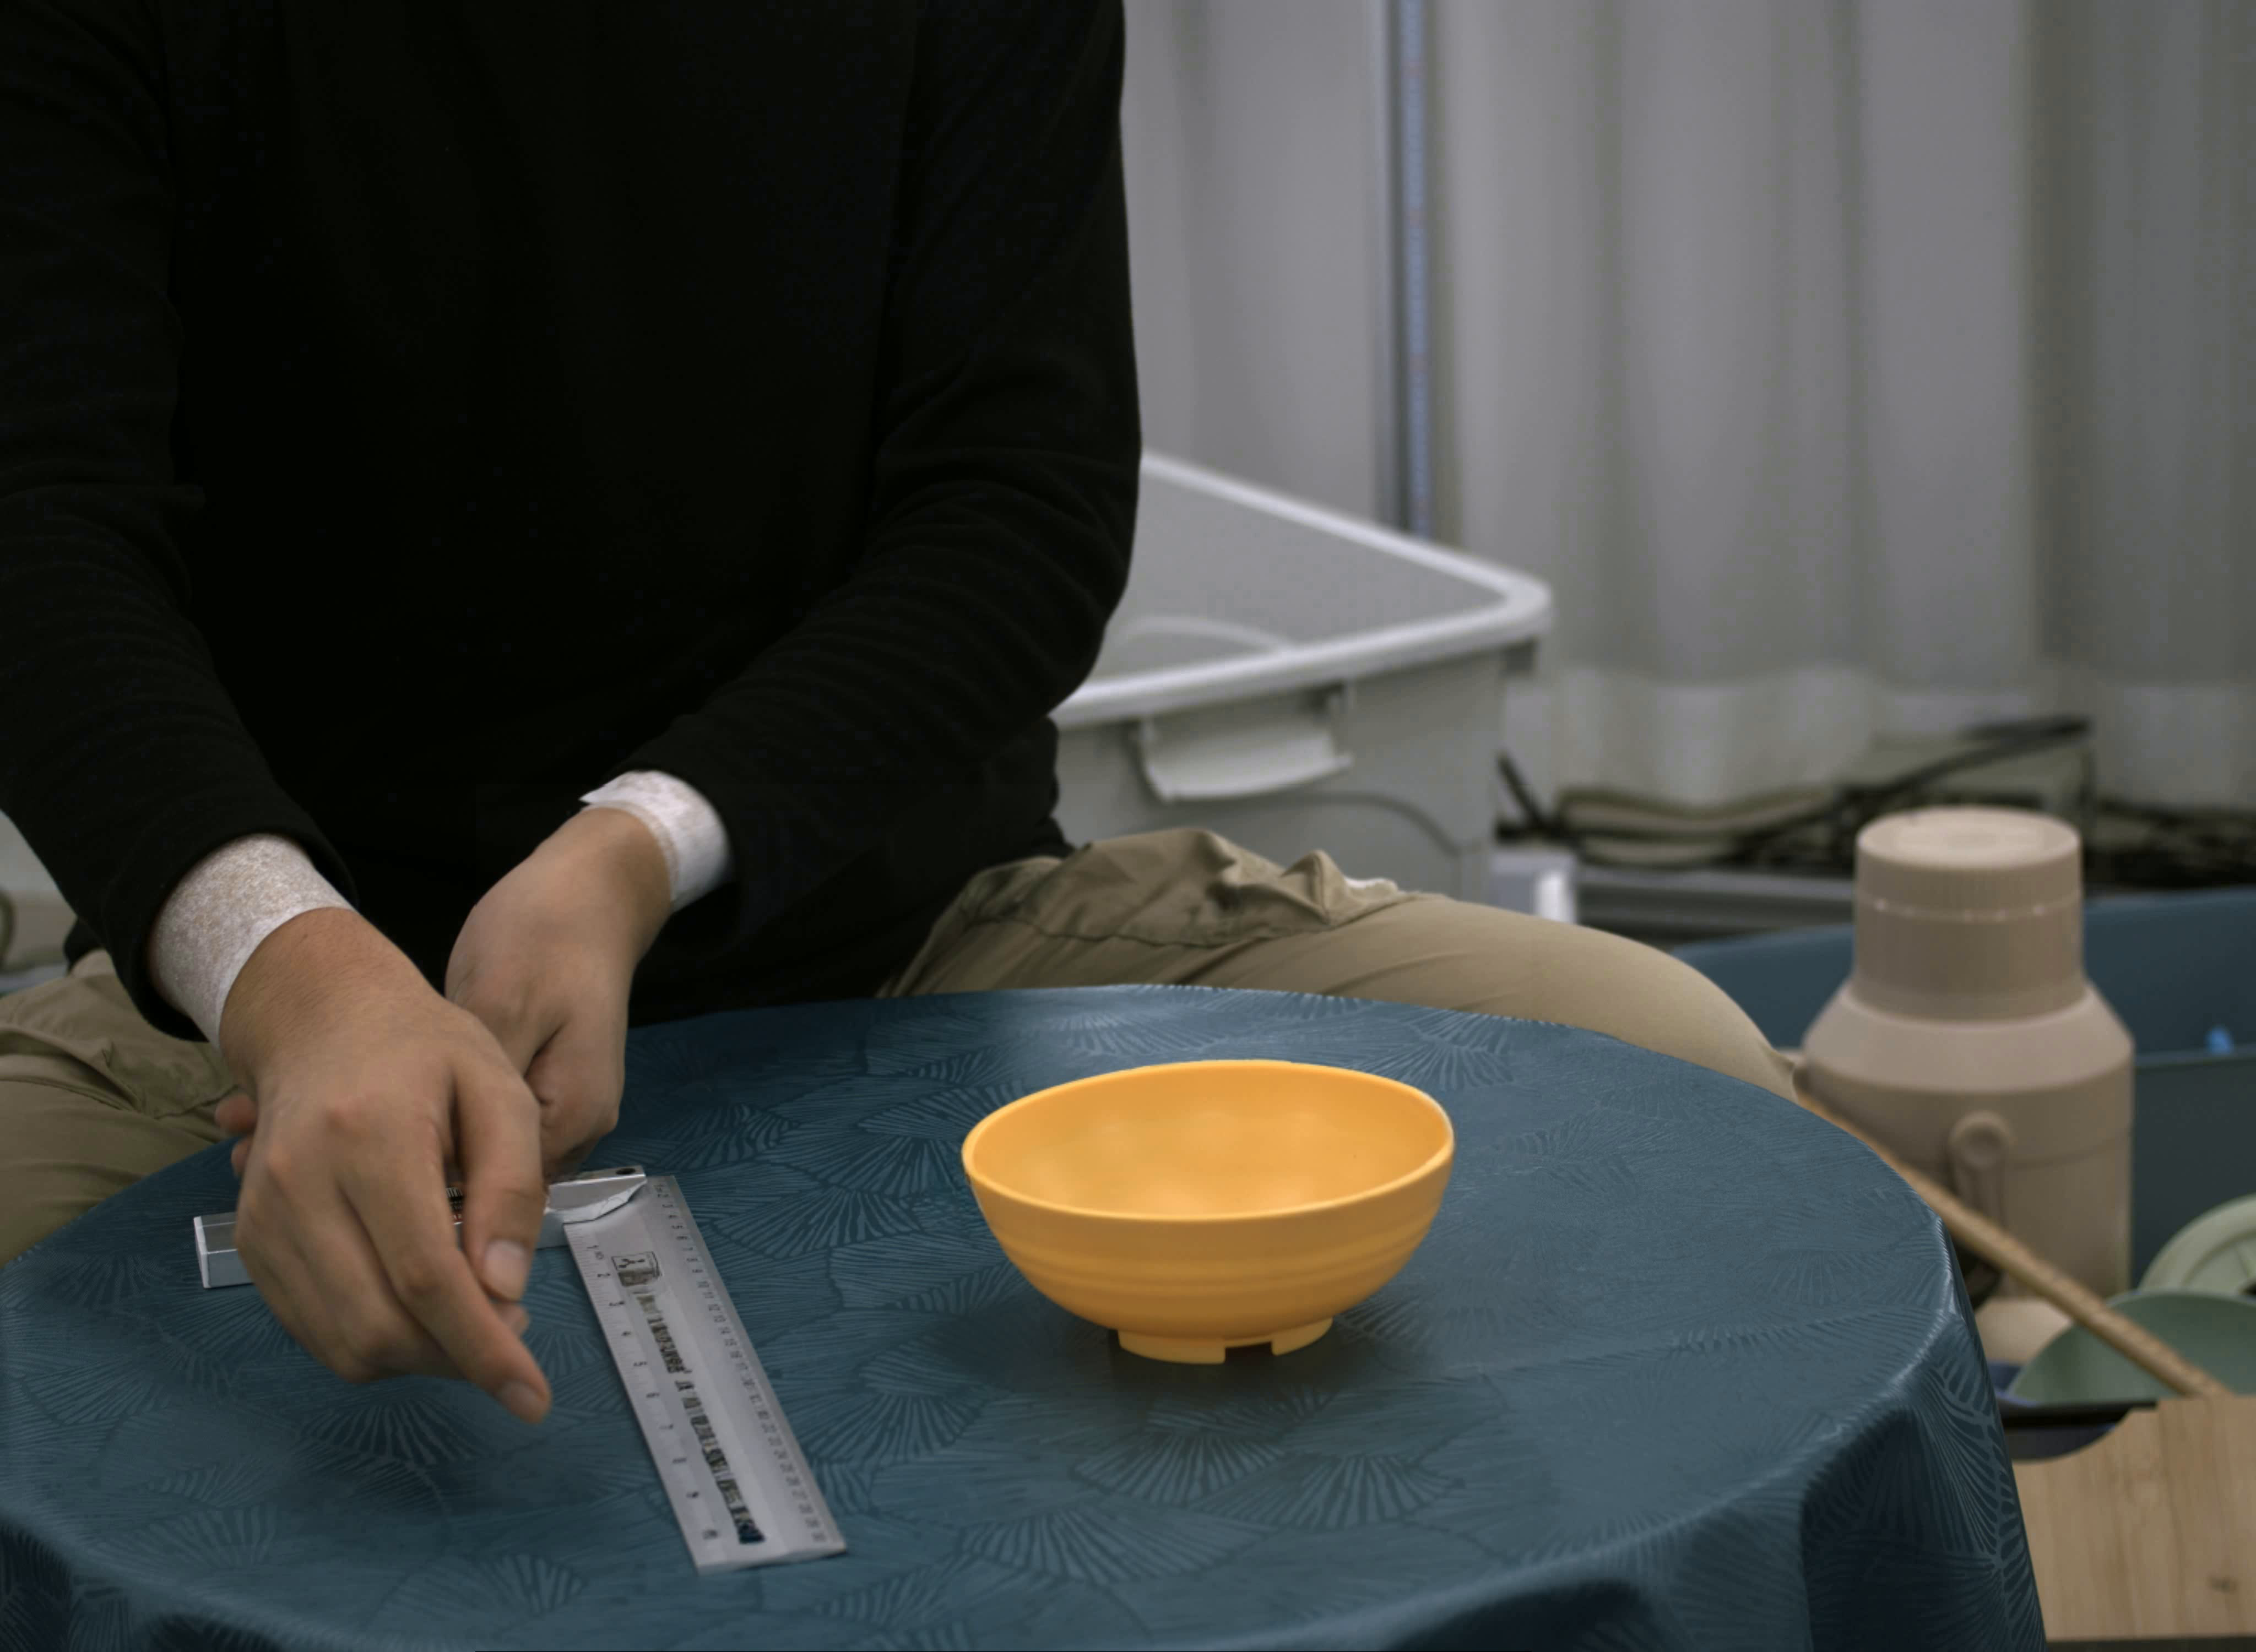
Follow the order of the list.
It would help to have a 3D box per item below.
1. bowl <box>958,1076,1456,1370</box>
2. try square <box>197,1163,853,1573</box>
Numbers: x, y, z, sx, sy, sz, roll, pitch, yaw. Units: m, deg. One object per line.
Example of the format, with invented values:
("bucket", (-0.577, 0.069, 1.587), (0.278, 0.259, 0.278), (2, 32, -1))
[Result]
("bowl", (0.023, 0.119, 1.585), (0.145, 0.060, 0.146), (-2, 12, 0))
("try square", (-0.180, 0.160, 1.570), (0.151, 0.016, 0.315), (-8, 16, -11))
